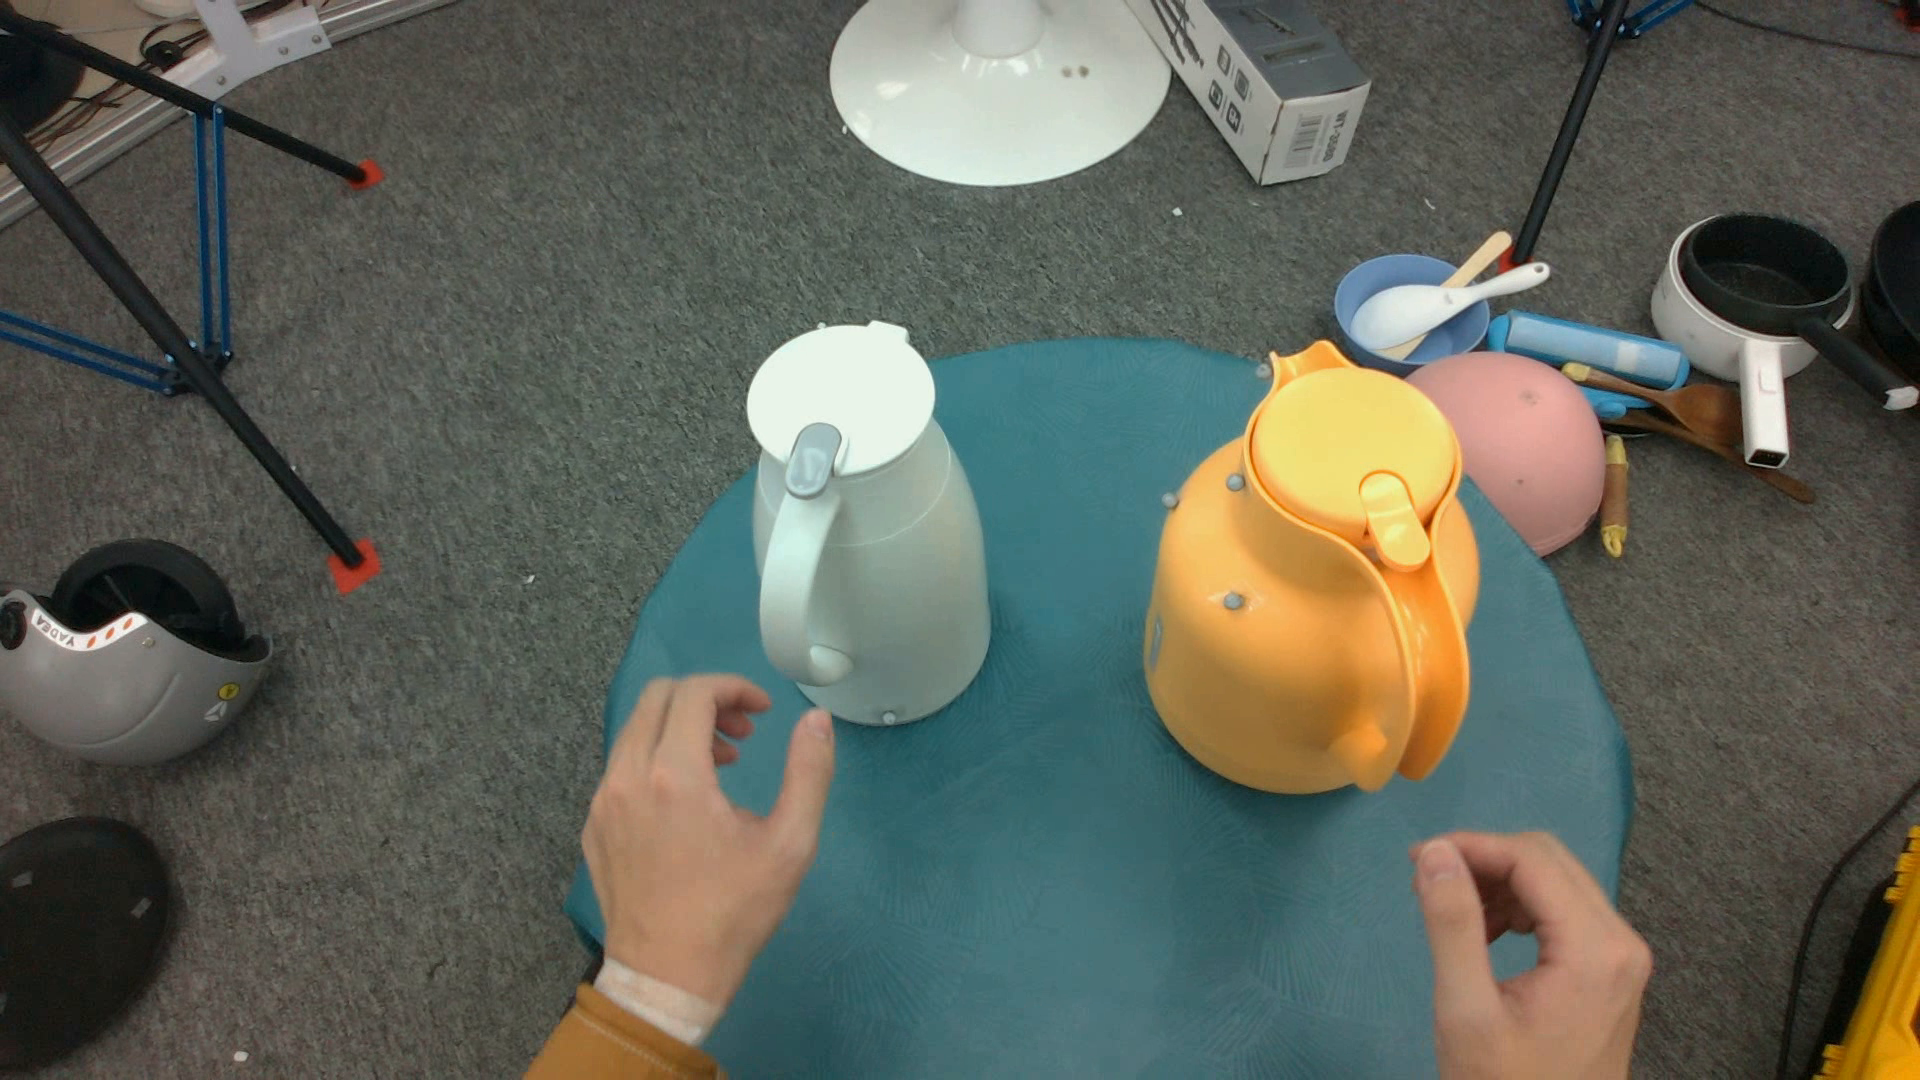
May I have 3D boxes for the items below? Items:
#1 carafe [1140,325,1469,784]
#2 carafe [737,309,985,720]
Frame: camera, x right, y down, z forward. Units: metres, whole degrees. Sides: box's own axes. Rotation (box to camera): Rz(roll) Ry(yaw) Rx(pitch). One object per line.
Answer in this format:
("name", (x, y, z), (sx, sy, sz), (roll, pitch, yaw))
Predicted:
("carafe", (0.184, 0.029, 0.717), (0.163, 0.259, 0.203), (-13, 57, -3))
("carafe", (-0.062, 0.003, 0.750), (0.132, 0.247, 0.168), (14, 60, 12))
